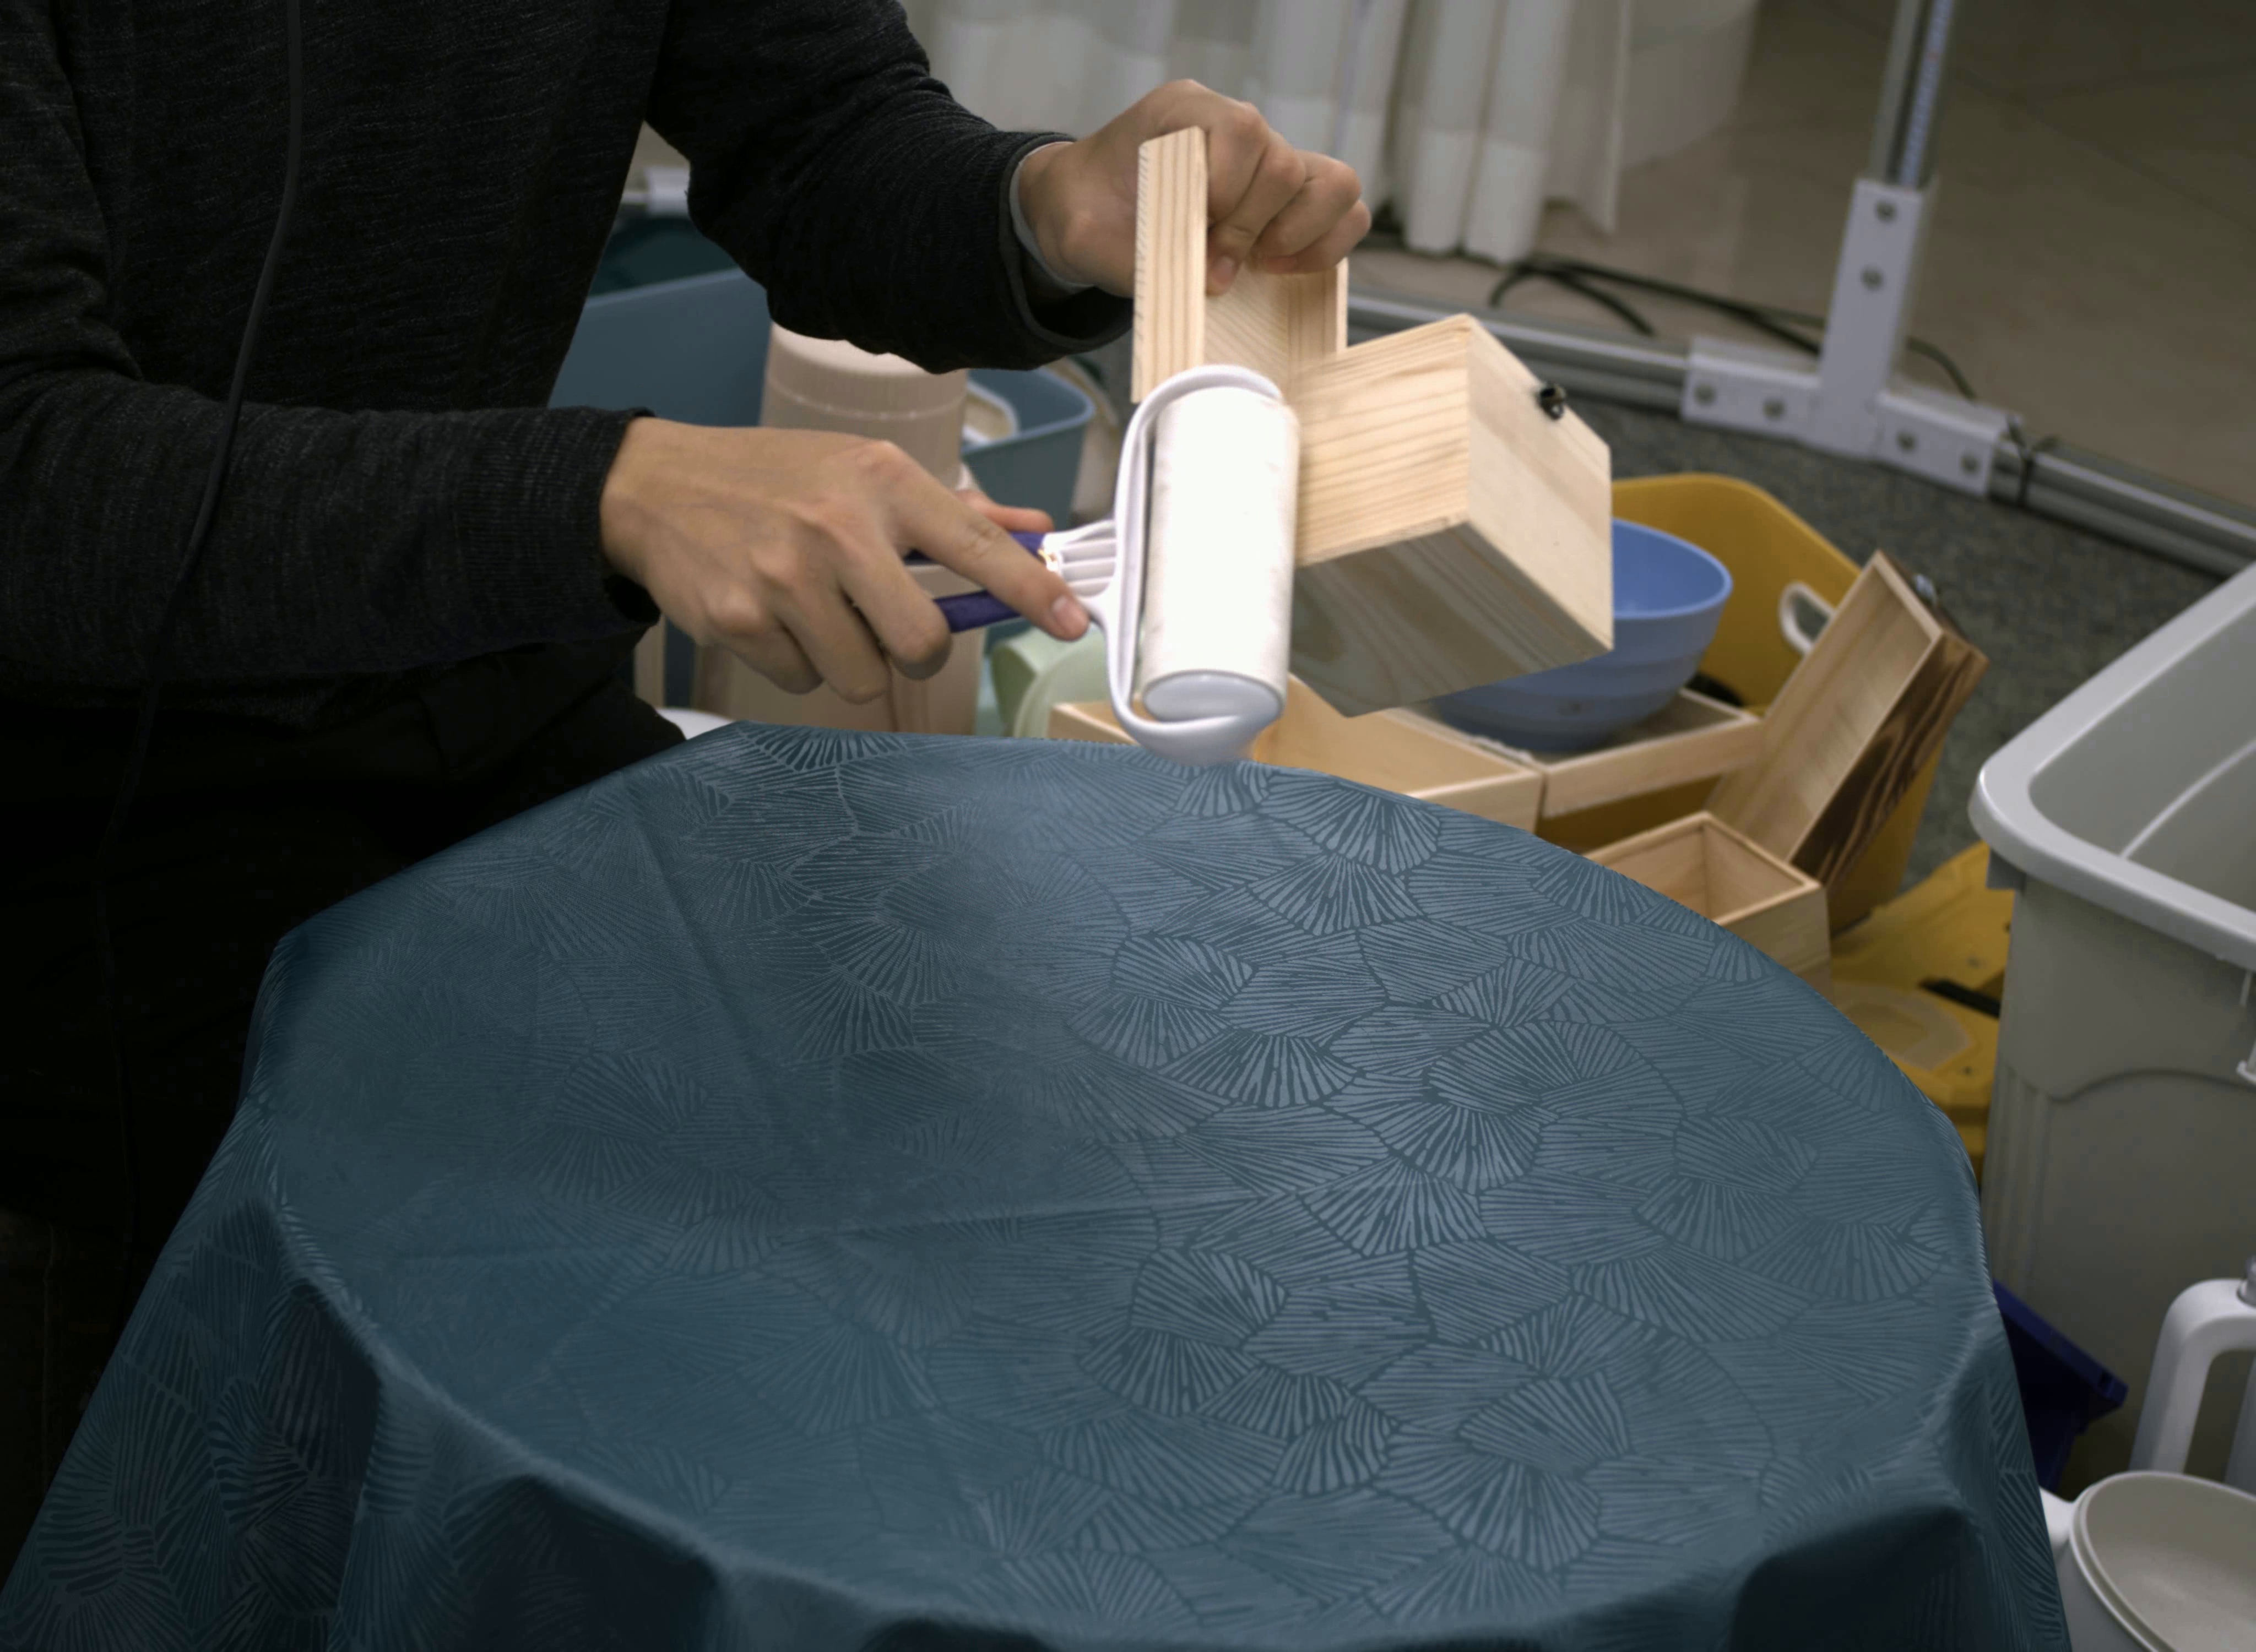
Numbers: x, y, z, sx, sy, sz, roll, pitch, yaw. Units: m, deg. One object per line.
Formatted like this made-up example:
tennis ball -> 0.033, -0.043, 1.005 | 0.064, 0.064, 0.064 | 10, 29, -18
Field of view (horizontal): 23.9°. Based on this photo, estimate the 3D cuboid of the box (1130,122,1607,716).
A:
box -> 0.082, -0.146, 1.762 | 0.134, 0.101, 0.186 | -14, 59, 29

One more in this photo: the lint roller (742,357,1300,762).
lint roller -> -0.036, -0.086, 1.682 | 0.180, 0.050, 0.134 | 2, 65, 8
